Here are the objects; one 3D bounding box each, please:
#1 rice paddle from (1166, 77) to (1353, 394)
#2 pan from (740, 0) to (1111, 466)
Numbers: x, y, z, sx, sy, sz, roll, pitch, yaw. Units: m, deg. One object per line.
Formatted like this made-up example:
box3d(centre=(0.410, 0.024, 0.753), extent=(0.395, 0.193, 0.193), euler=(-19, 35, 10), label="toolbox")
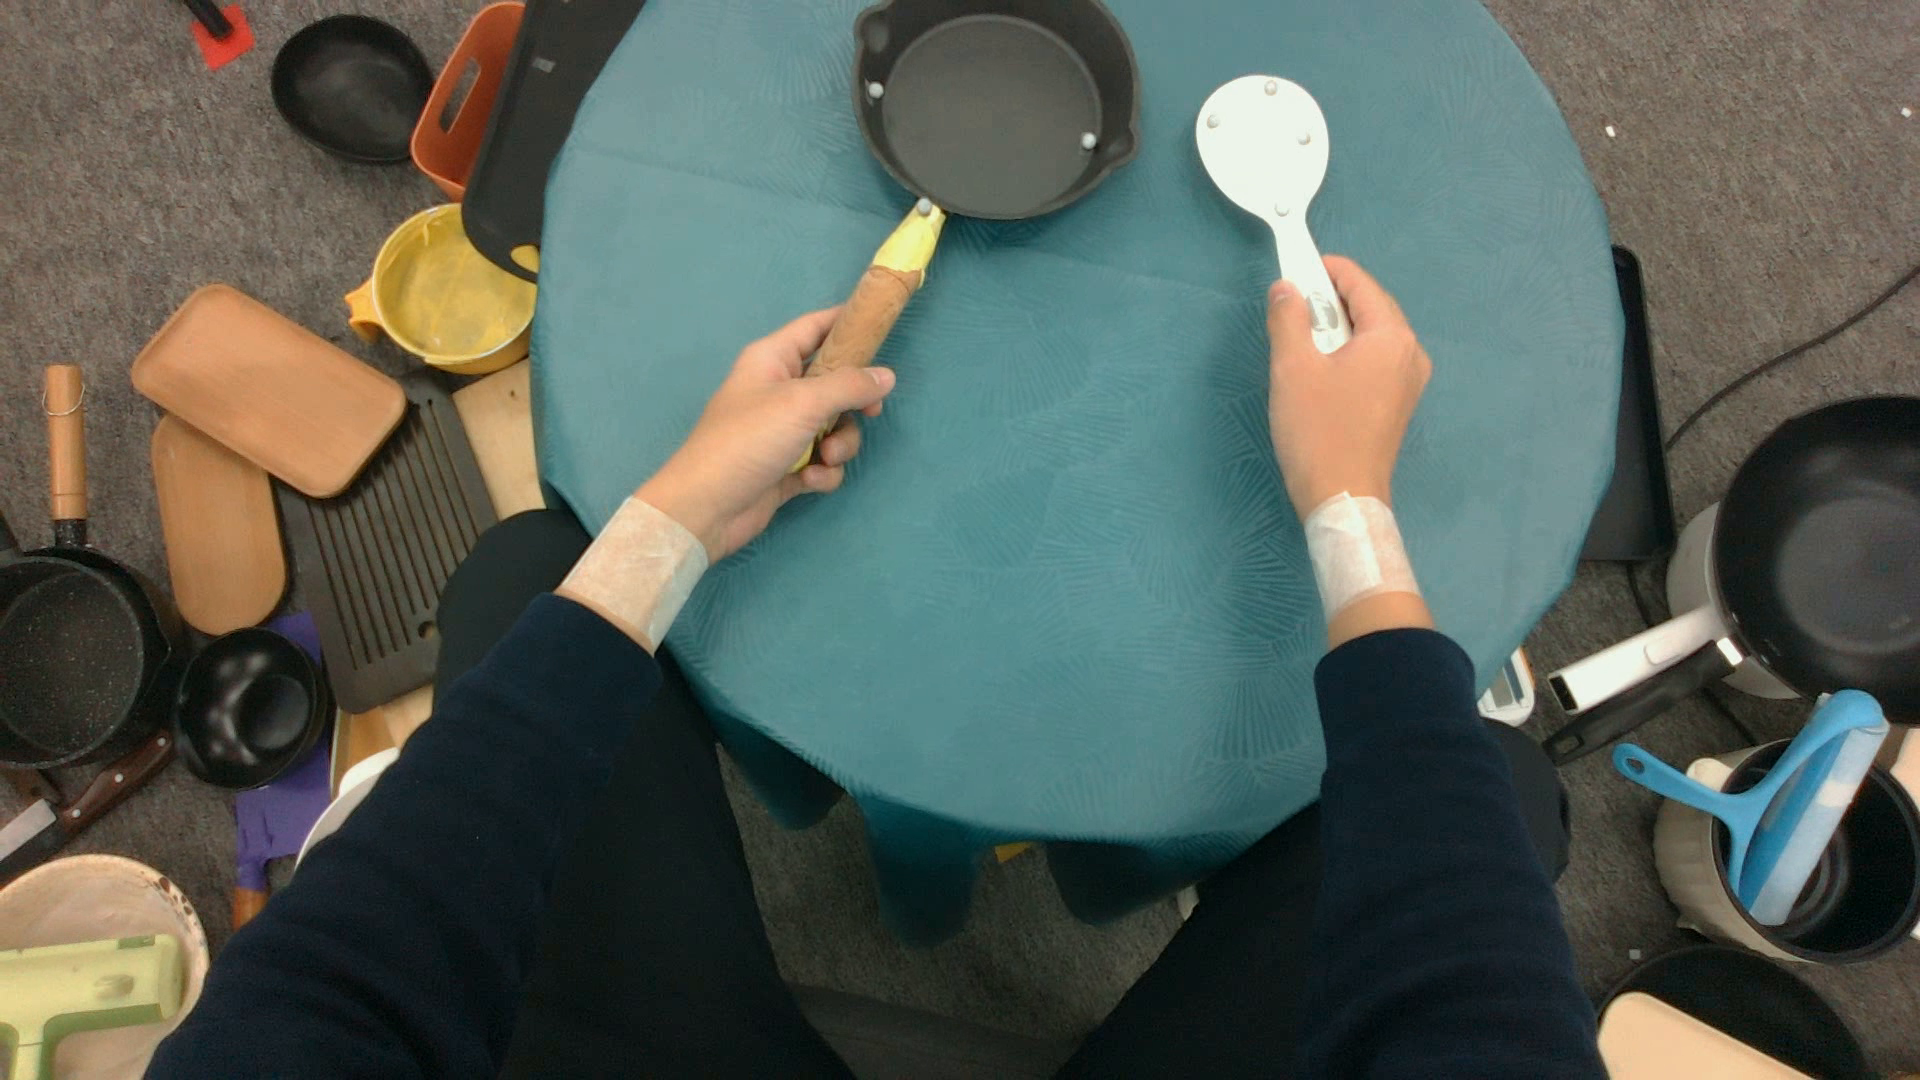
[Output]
box3d(centre=(0.163, -0.173, 0.741), extent=(0.069, 0.029, 0.206), euler=(-14, 66, 3), label="rice paddle")
box3d(centre=(-0.034, -0.177, 0.735), extent=(0.169, 0.049, 0.325), euler=(27, 75, 3), label="pan")
